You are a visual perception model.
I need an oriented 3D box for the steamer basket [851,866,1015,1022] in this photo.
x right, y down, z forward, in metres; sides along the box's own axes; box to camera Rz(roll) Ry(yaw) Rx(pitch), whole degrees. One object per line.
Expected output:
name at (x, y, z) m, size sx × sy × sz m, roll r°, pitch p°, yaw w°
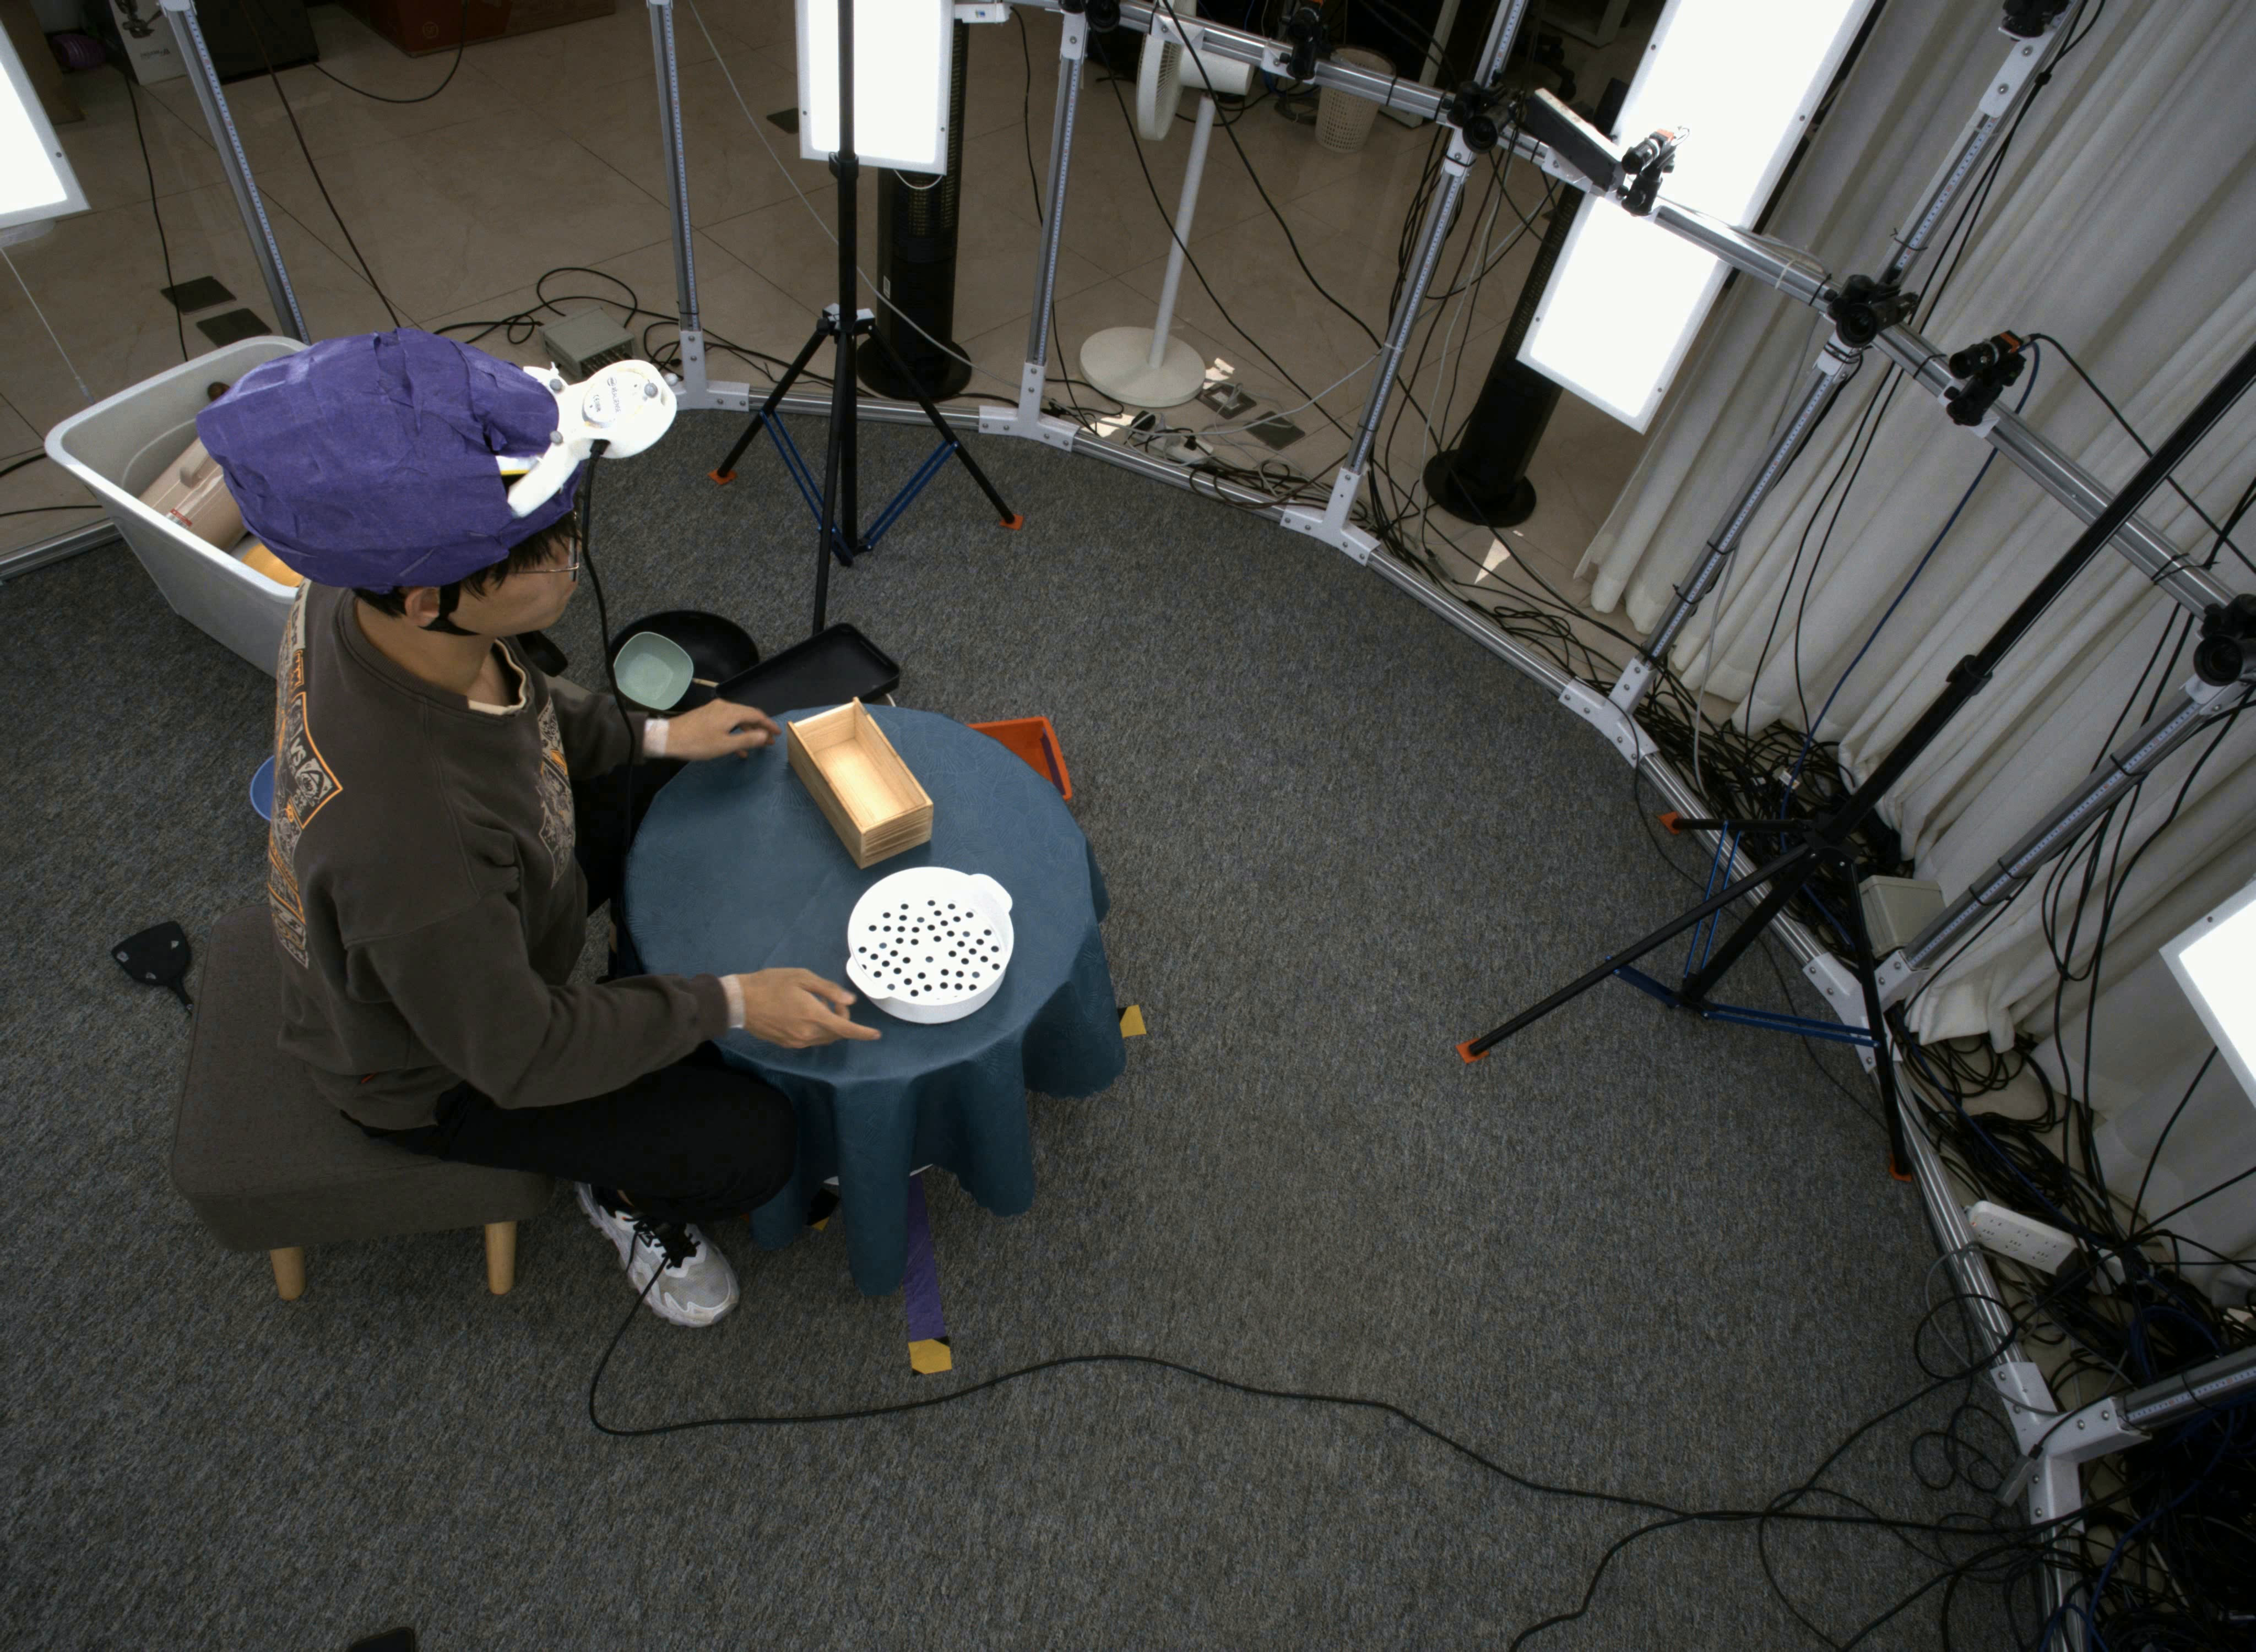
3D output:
steamer basket at (-0.243, 0.148, 1.631) m, size 0.197 × 0.071 × 0.231 m, roll 42°, pitch 57°, yaw 19°

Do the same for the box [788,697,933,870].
box at (-0.360, -0.059, 1.746) m, size 0.108 × 0.082 × 0.206 m, roll -26°, pitch 63°, yaw -27°
